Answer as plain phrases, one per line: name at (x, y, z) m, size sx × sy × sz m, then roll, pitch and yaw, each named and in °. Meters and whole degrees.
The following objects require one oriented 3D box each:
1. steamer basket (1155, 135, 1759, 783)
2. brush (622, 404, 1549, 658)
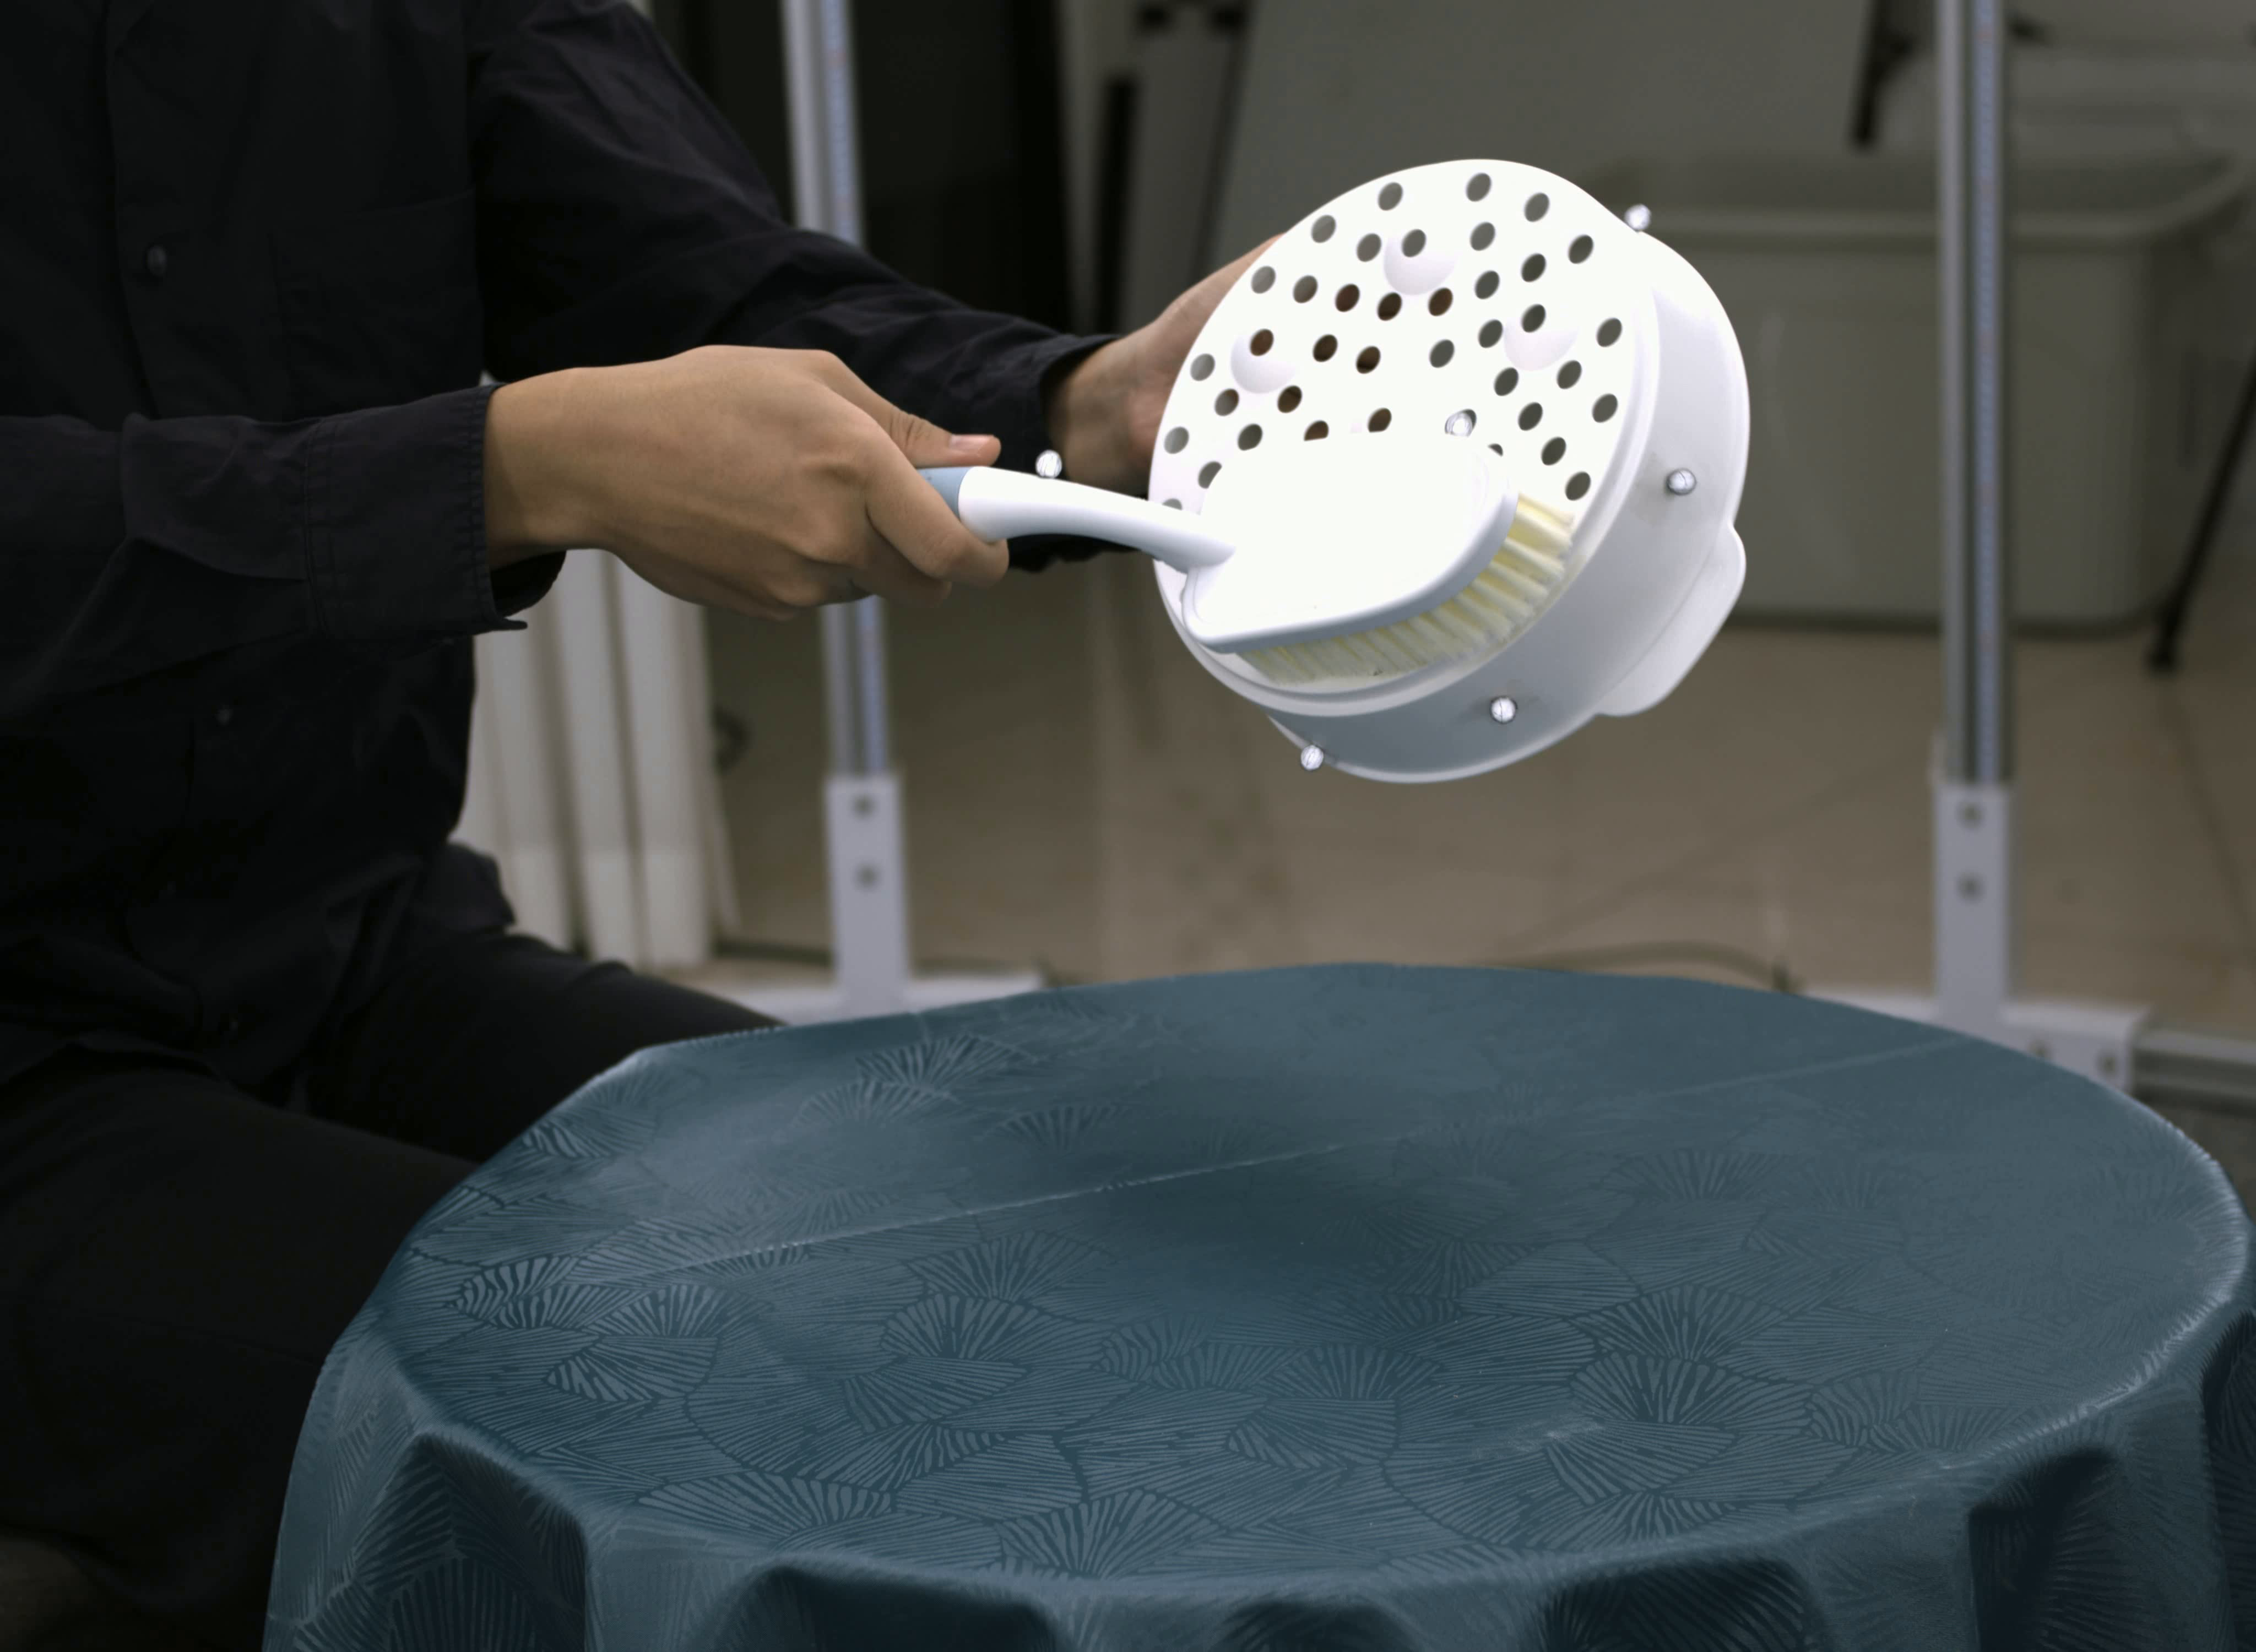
steamer basket at (0.100, -0.118, 1.713) m, size 0.068 × 0.203 × 0.233 m, roll 32°, pitch 4°, yaw -46°
brush at (-0.011, -0.095, 1.703) m, size 0.327 × 0.085 × 0.082 m, roll 0°, pitch 31°, yaw 31°
